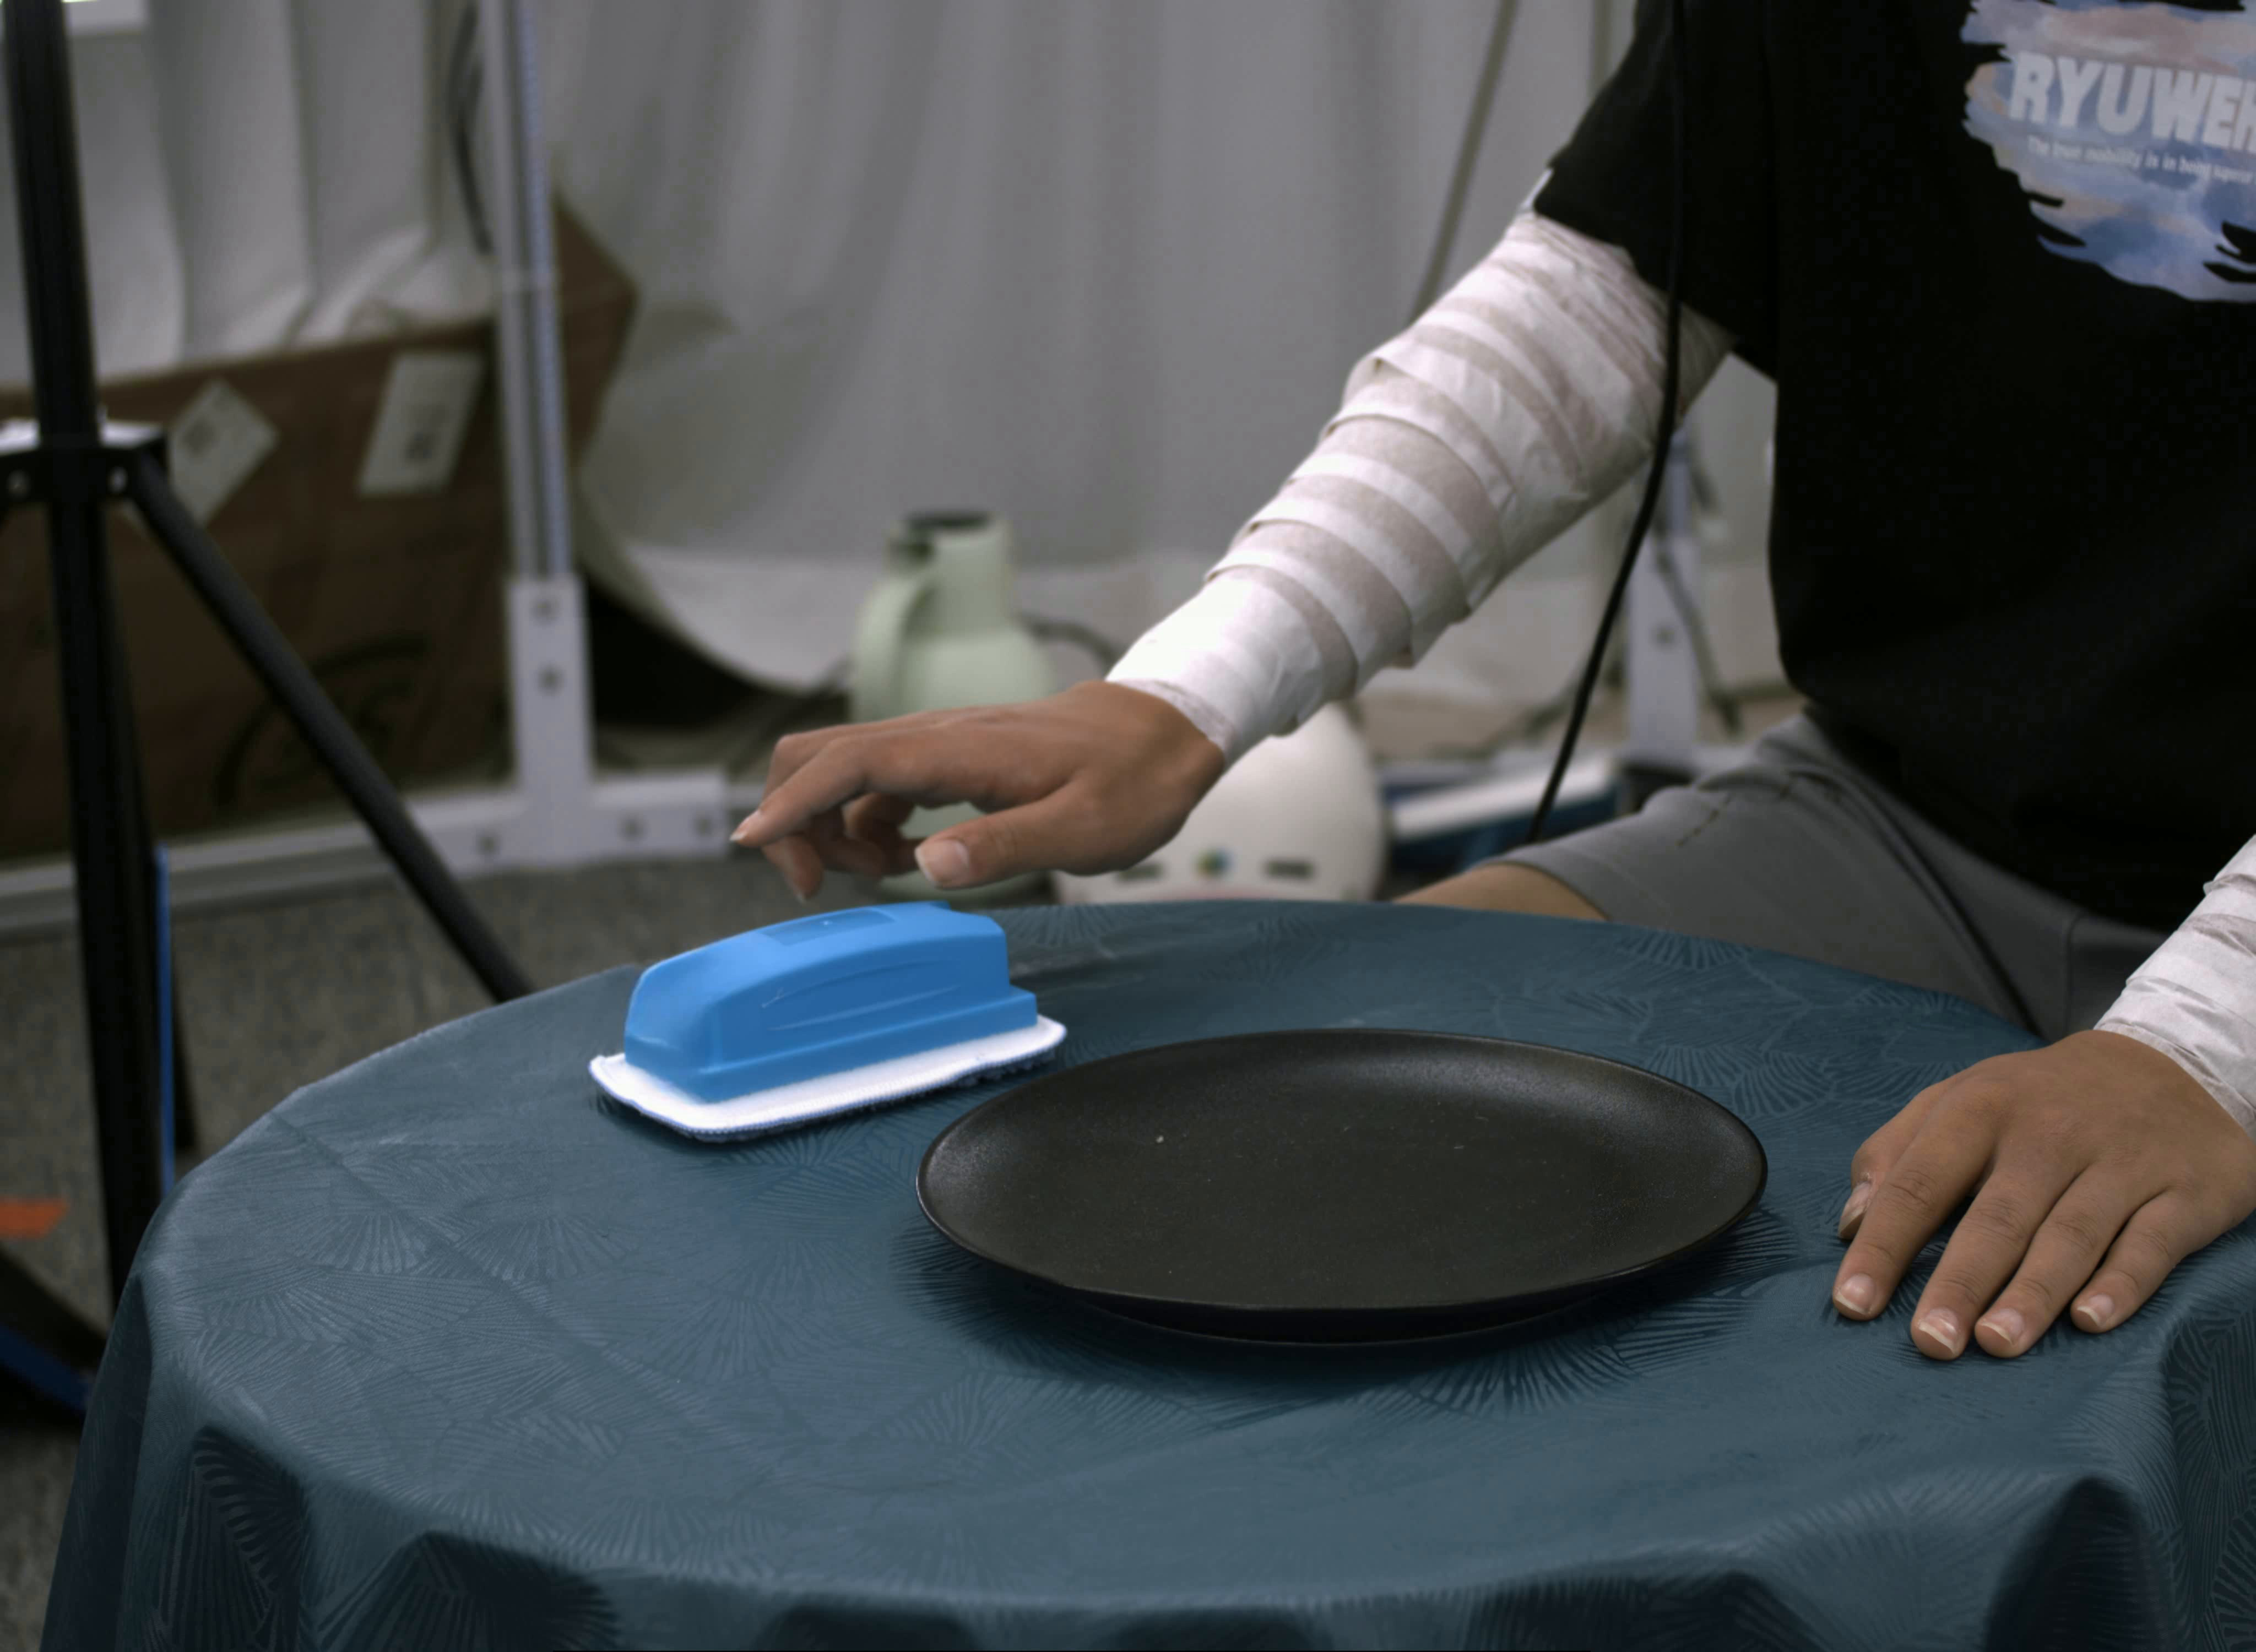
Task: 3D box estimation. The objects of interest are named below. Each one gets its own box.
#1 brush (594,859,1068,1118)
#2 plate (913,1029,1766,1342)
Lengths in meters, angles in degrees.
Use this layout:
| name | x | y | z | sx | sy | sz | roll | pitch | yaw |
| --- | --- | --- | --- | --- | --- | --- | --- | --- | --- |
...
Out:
| name | x | y | z | sx | sy | sz | roll | pitch | yaw |
| --- | --- | --- | --- | --- | --- | --- | --- | --- | --- |
| brush | -0.093 | 0.047 | 1.673 | 0.141 | 0.056 | 0.086 | -16 | 25 | -32 |
| plate | 0.060 | 0.105 | 1.516 | 0.243 | 0.023 | 0.245 | -3 | 16 | -1 |
